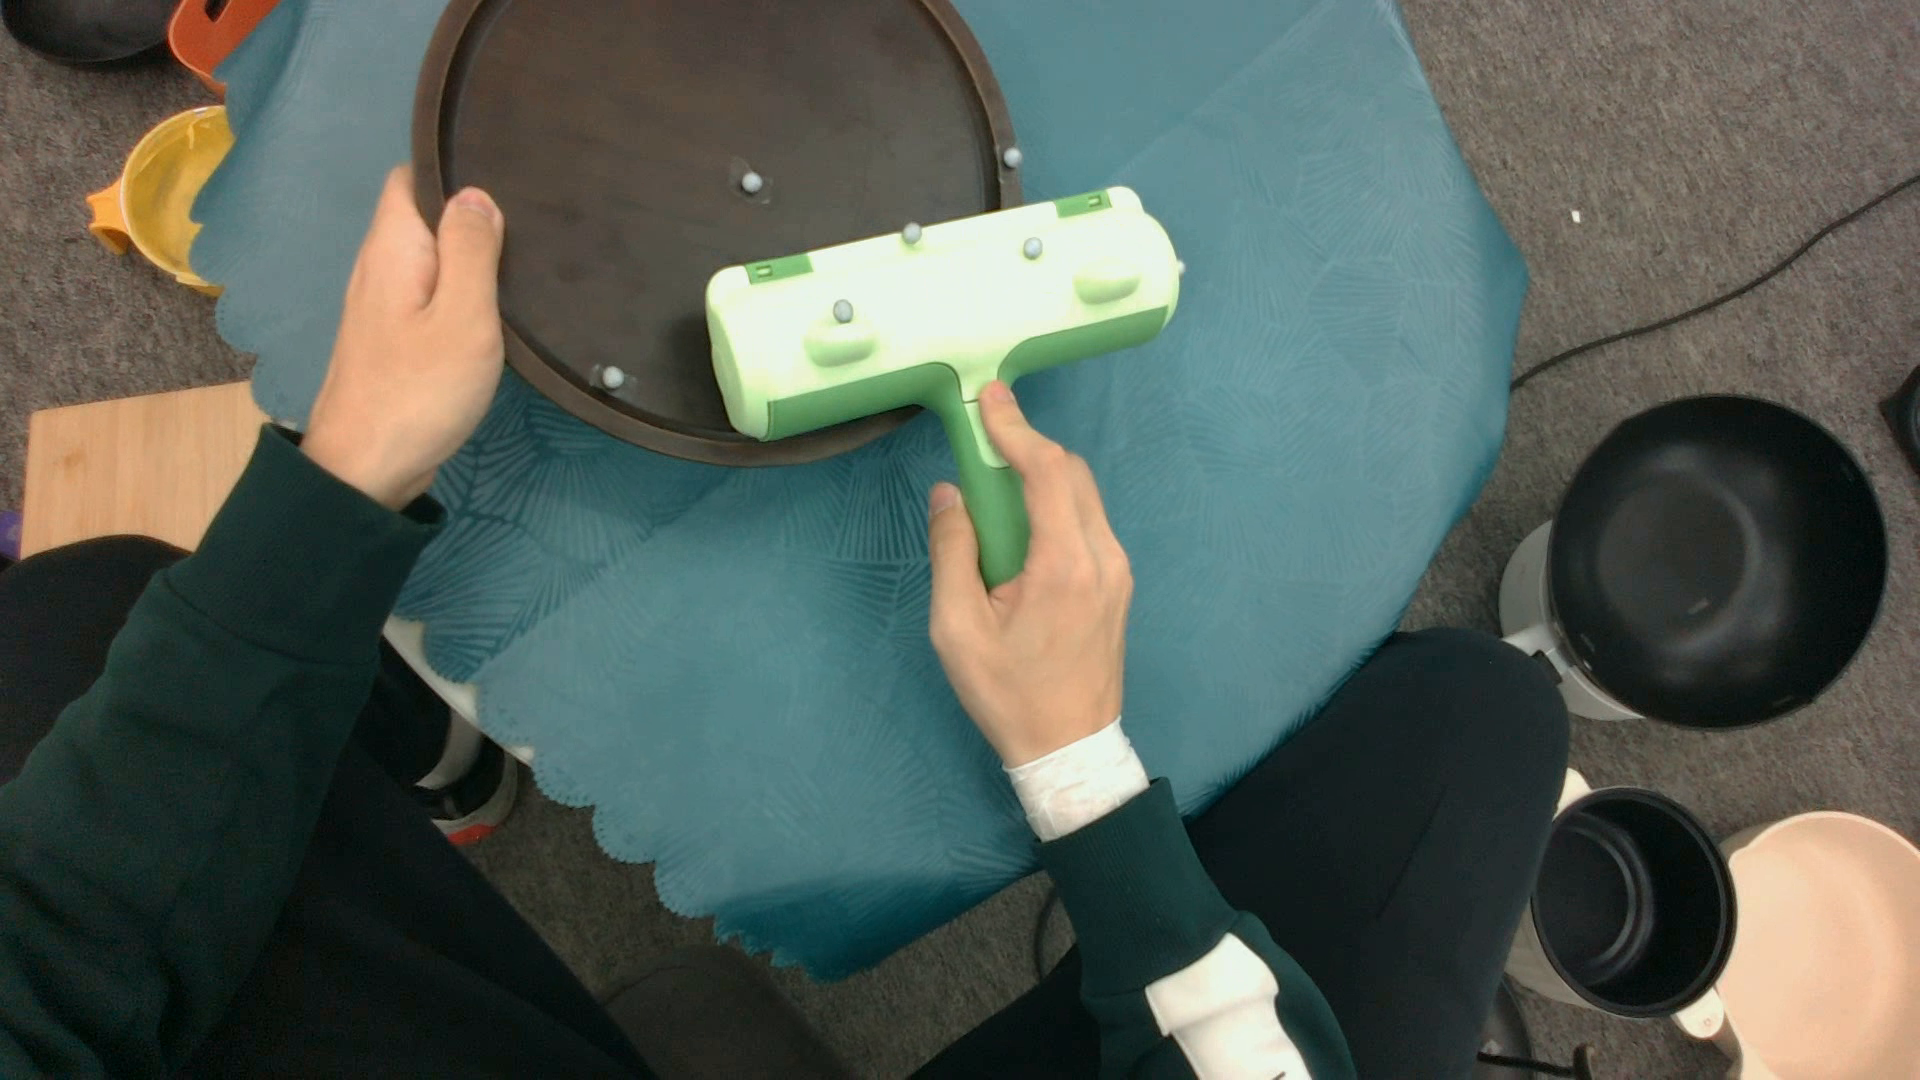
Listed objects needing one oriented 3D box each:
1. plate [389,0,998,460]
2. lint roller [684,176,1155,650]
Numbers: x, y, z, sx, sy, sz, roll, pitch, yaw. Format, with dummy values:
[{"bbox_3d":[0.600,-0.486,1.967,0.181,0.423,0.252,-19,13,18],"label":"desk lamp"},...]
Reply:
[{"bbox_3d":[-0.104,-0.158,0.581,0.255,0.029,0.255,2,84,-22],"label":"plate"},{"bbox_3d":[0.009,-0.046,0.557,0.199,0.082,0.183,-18,83,-21],"label":"lint roller"}]
